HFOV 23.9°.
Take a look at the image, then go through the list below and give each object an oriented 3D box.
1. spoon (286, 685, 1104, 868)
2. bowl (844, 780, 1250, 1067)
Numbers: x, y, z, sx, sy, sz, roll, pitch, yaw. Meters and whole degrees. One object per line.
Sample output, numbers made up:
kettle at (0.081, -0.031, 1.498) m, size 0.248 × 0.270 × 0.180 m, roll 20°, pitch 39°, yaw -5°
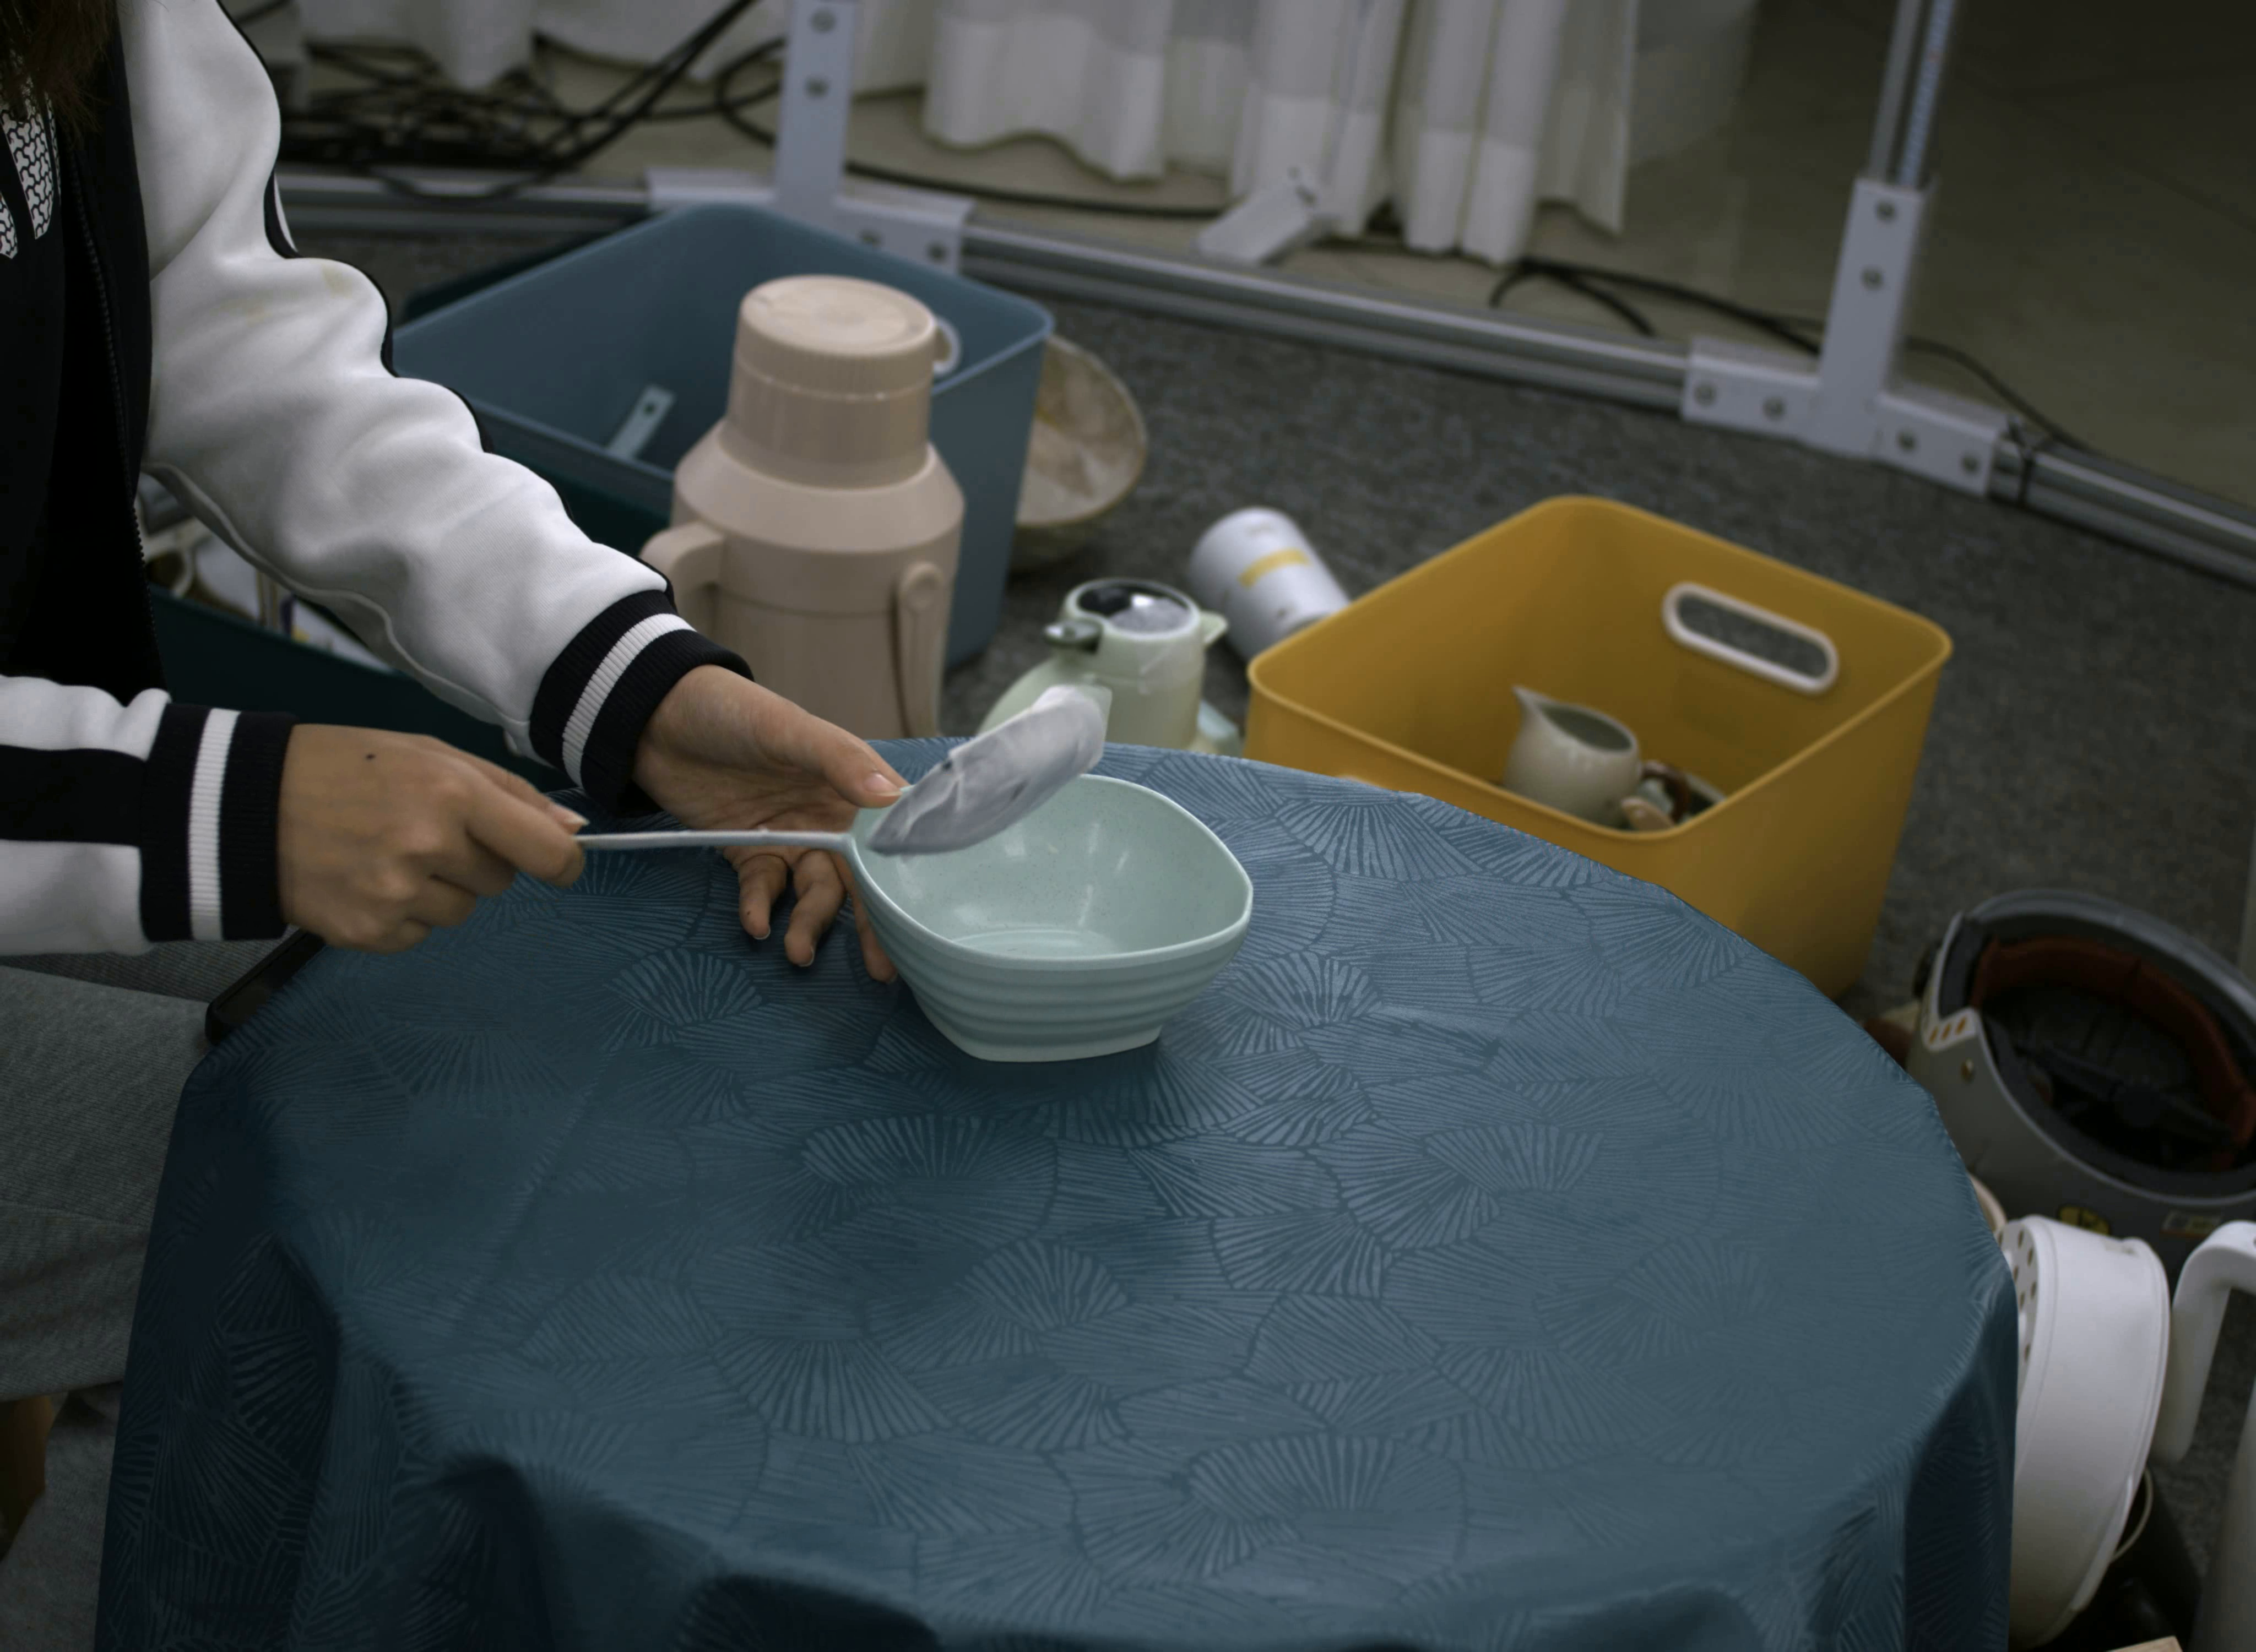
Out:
spoon at (-0.146, -0.015, 1.788) m, size 0.277 × 0.060 × 0.100 m, roll 0°, pitch -17°, yaw 8°
bowl at (-0.032, 0.040, 1.900) m, size 0.151 × 0.058 × 0.152 m, roll 5°, pitch 27°, yaw -3°
